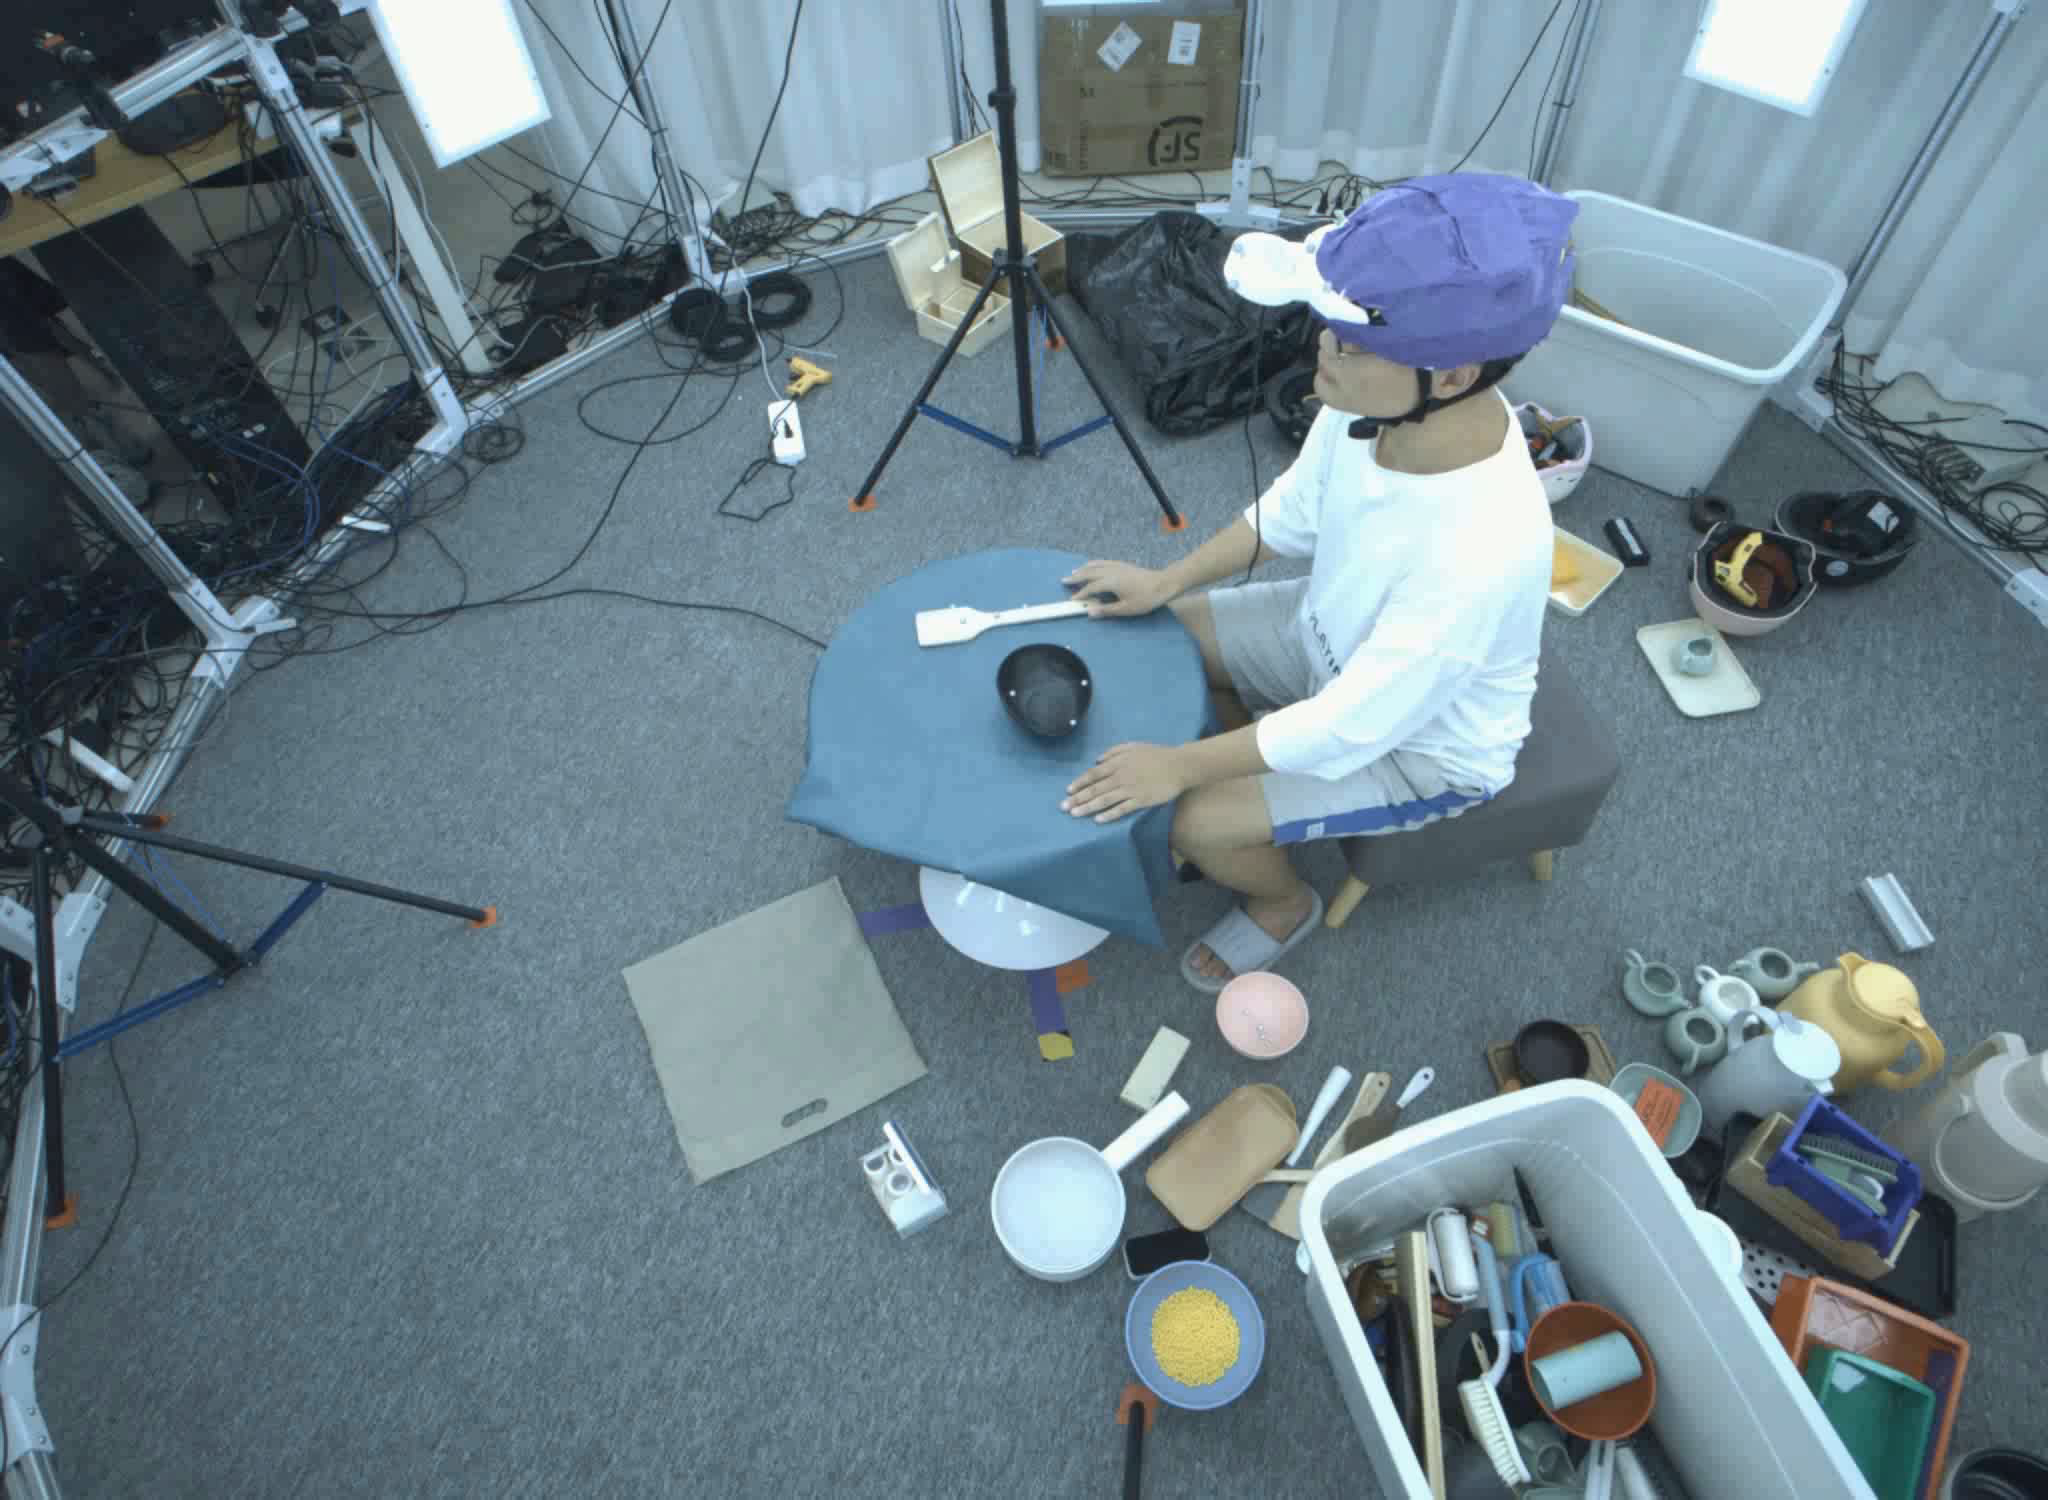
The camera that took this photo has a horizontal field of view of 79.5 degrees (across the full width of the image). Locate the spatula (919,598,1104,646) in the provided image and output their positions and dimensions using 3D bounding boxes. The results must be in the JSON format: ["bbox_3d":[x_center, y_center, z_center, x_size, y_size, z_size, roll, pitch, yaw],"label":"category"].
[{"bbox_3d":[-0.019,-0.209,1.929,0.294,0.011,0.071,-8,54,-4],"label":"spatula"}]

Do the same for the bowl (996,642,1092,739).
[{"bbox_3d":[0.031,-0.079,1.801,0.138,0.067,0.167,-16,57,-10],"label":"bowl"}]
